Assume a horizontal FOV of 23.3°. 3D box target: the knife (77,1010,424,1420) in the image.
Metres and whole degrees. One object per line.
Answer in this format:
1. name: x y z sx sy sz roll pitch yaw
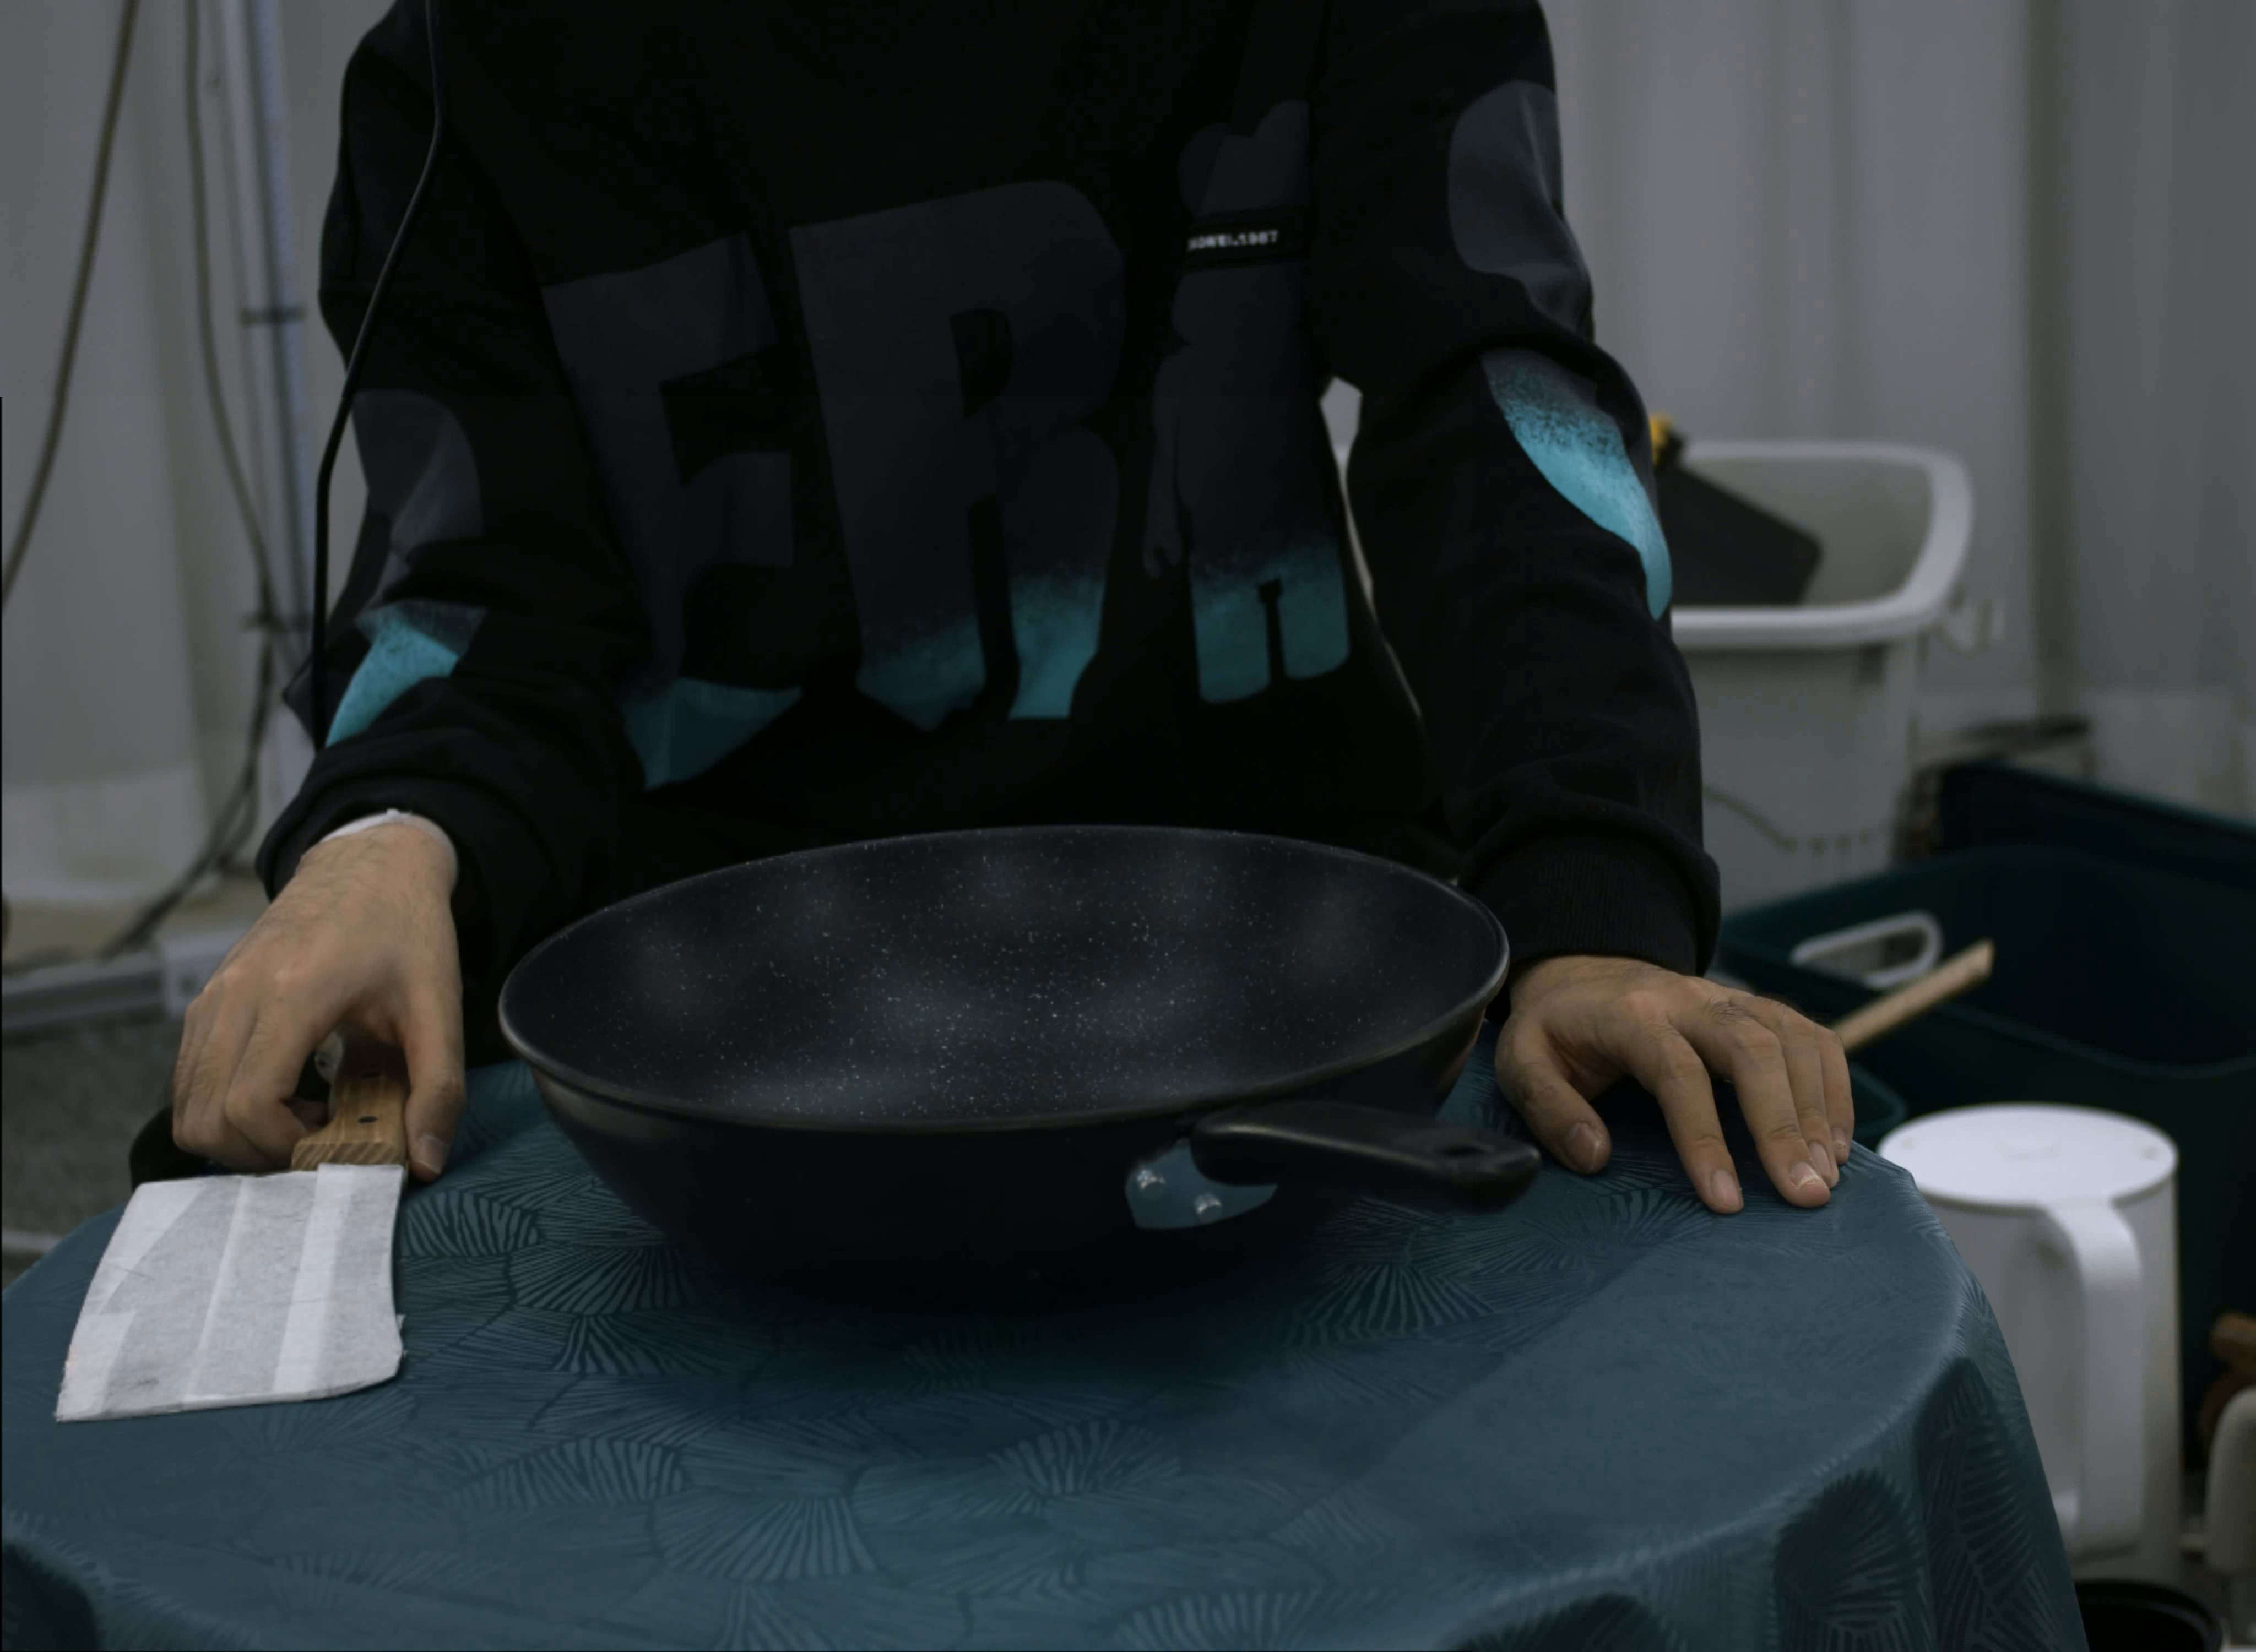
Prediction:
1. knife: -0.261 0.120 1.713 0.113 0.021 0.318 -3 18 2

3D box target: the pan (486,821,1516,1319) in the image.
1. pan: -0.005 0.089 1.610 0.309 0.111 0.480 -11 17 -23
